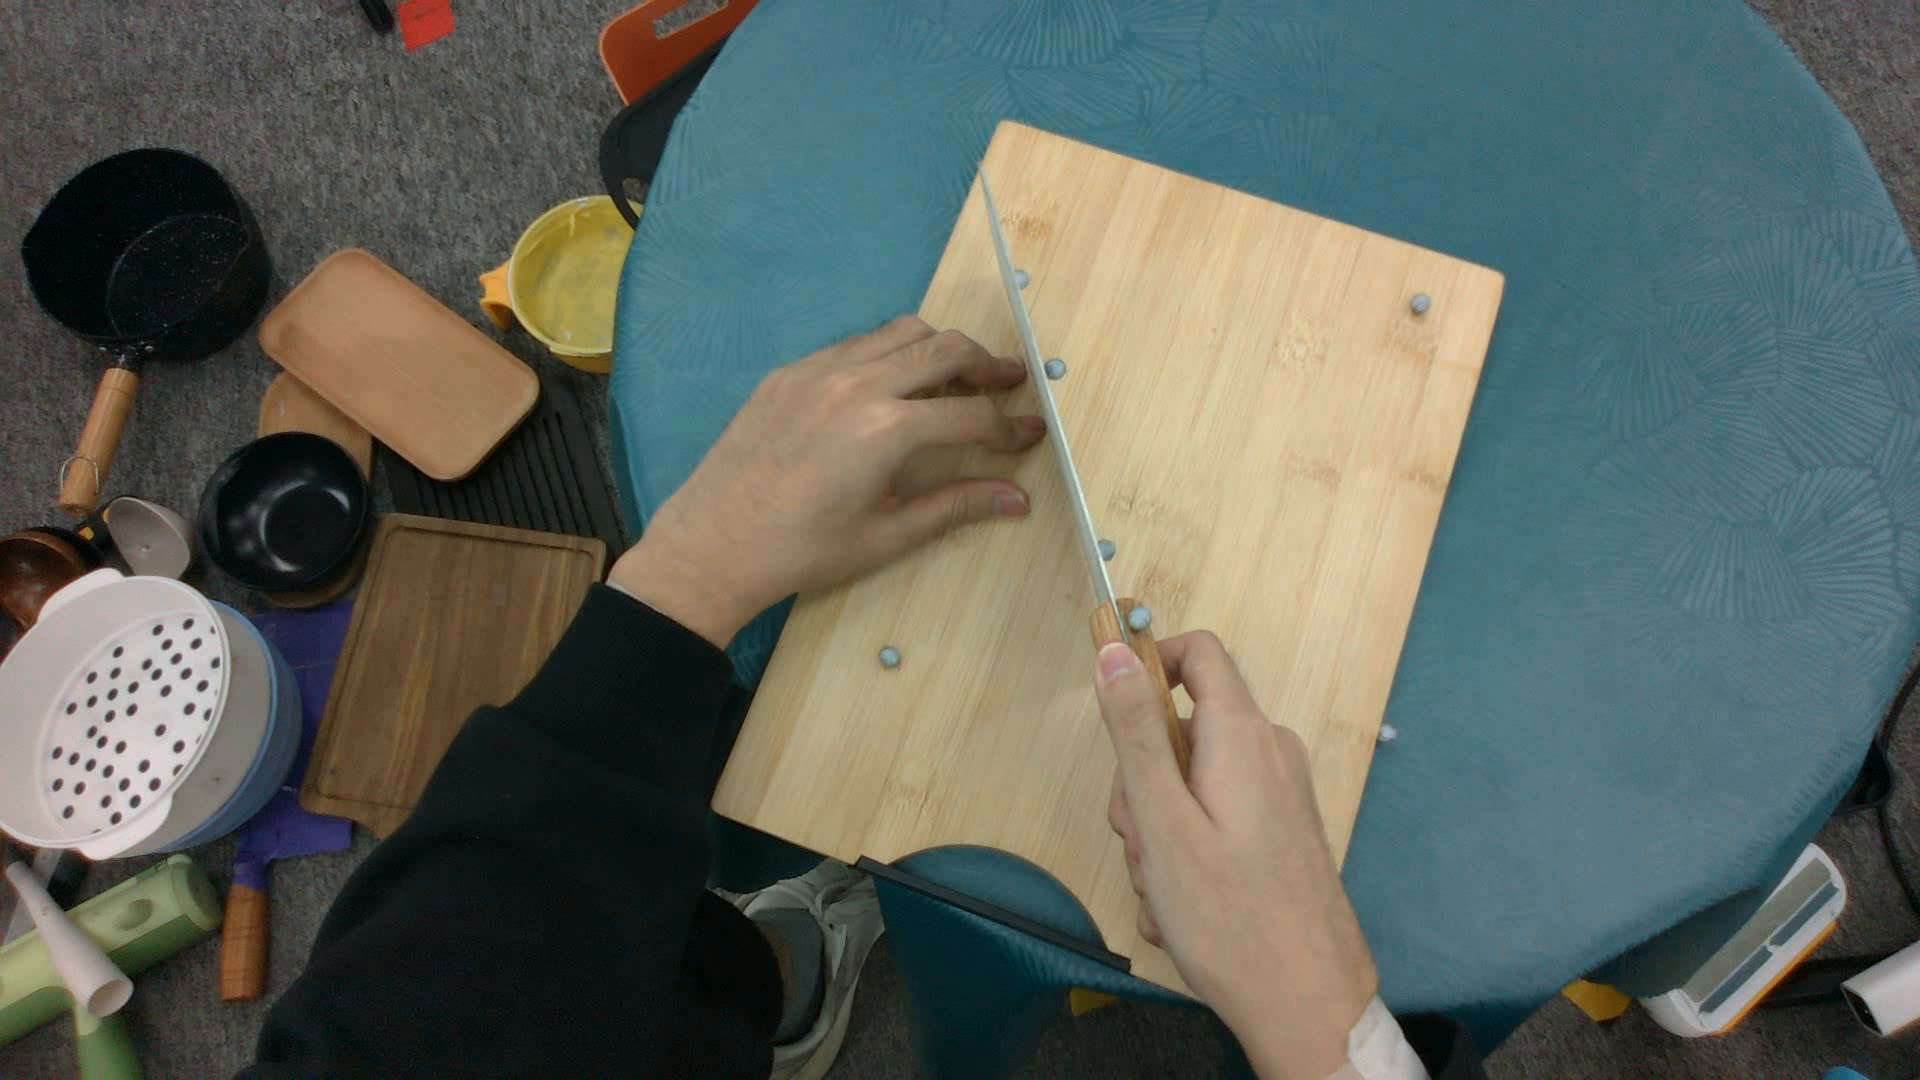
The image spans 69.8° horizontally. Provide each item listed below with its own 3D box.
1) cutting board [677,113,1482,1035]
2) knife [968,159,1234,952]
[{"bbox_3d":[0.062,-0.004,0.586,0.250,0.023,0.349,18,72,6],"label":"cutting board"},{"bbox_3d":[0.045,0.001,0.522,0.021,0.092,0.306,-16,72,1],"label":"knife"}]
